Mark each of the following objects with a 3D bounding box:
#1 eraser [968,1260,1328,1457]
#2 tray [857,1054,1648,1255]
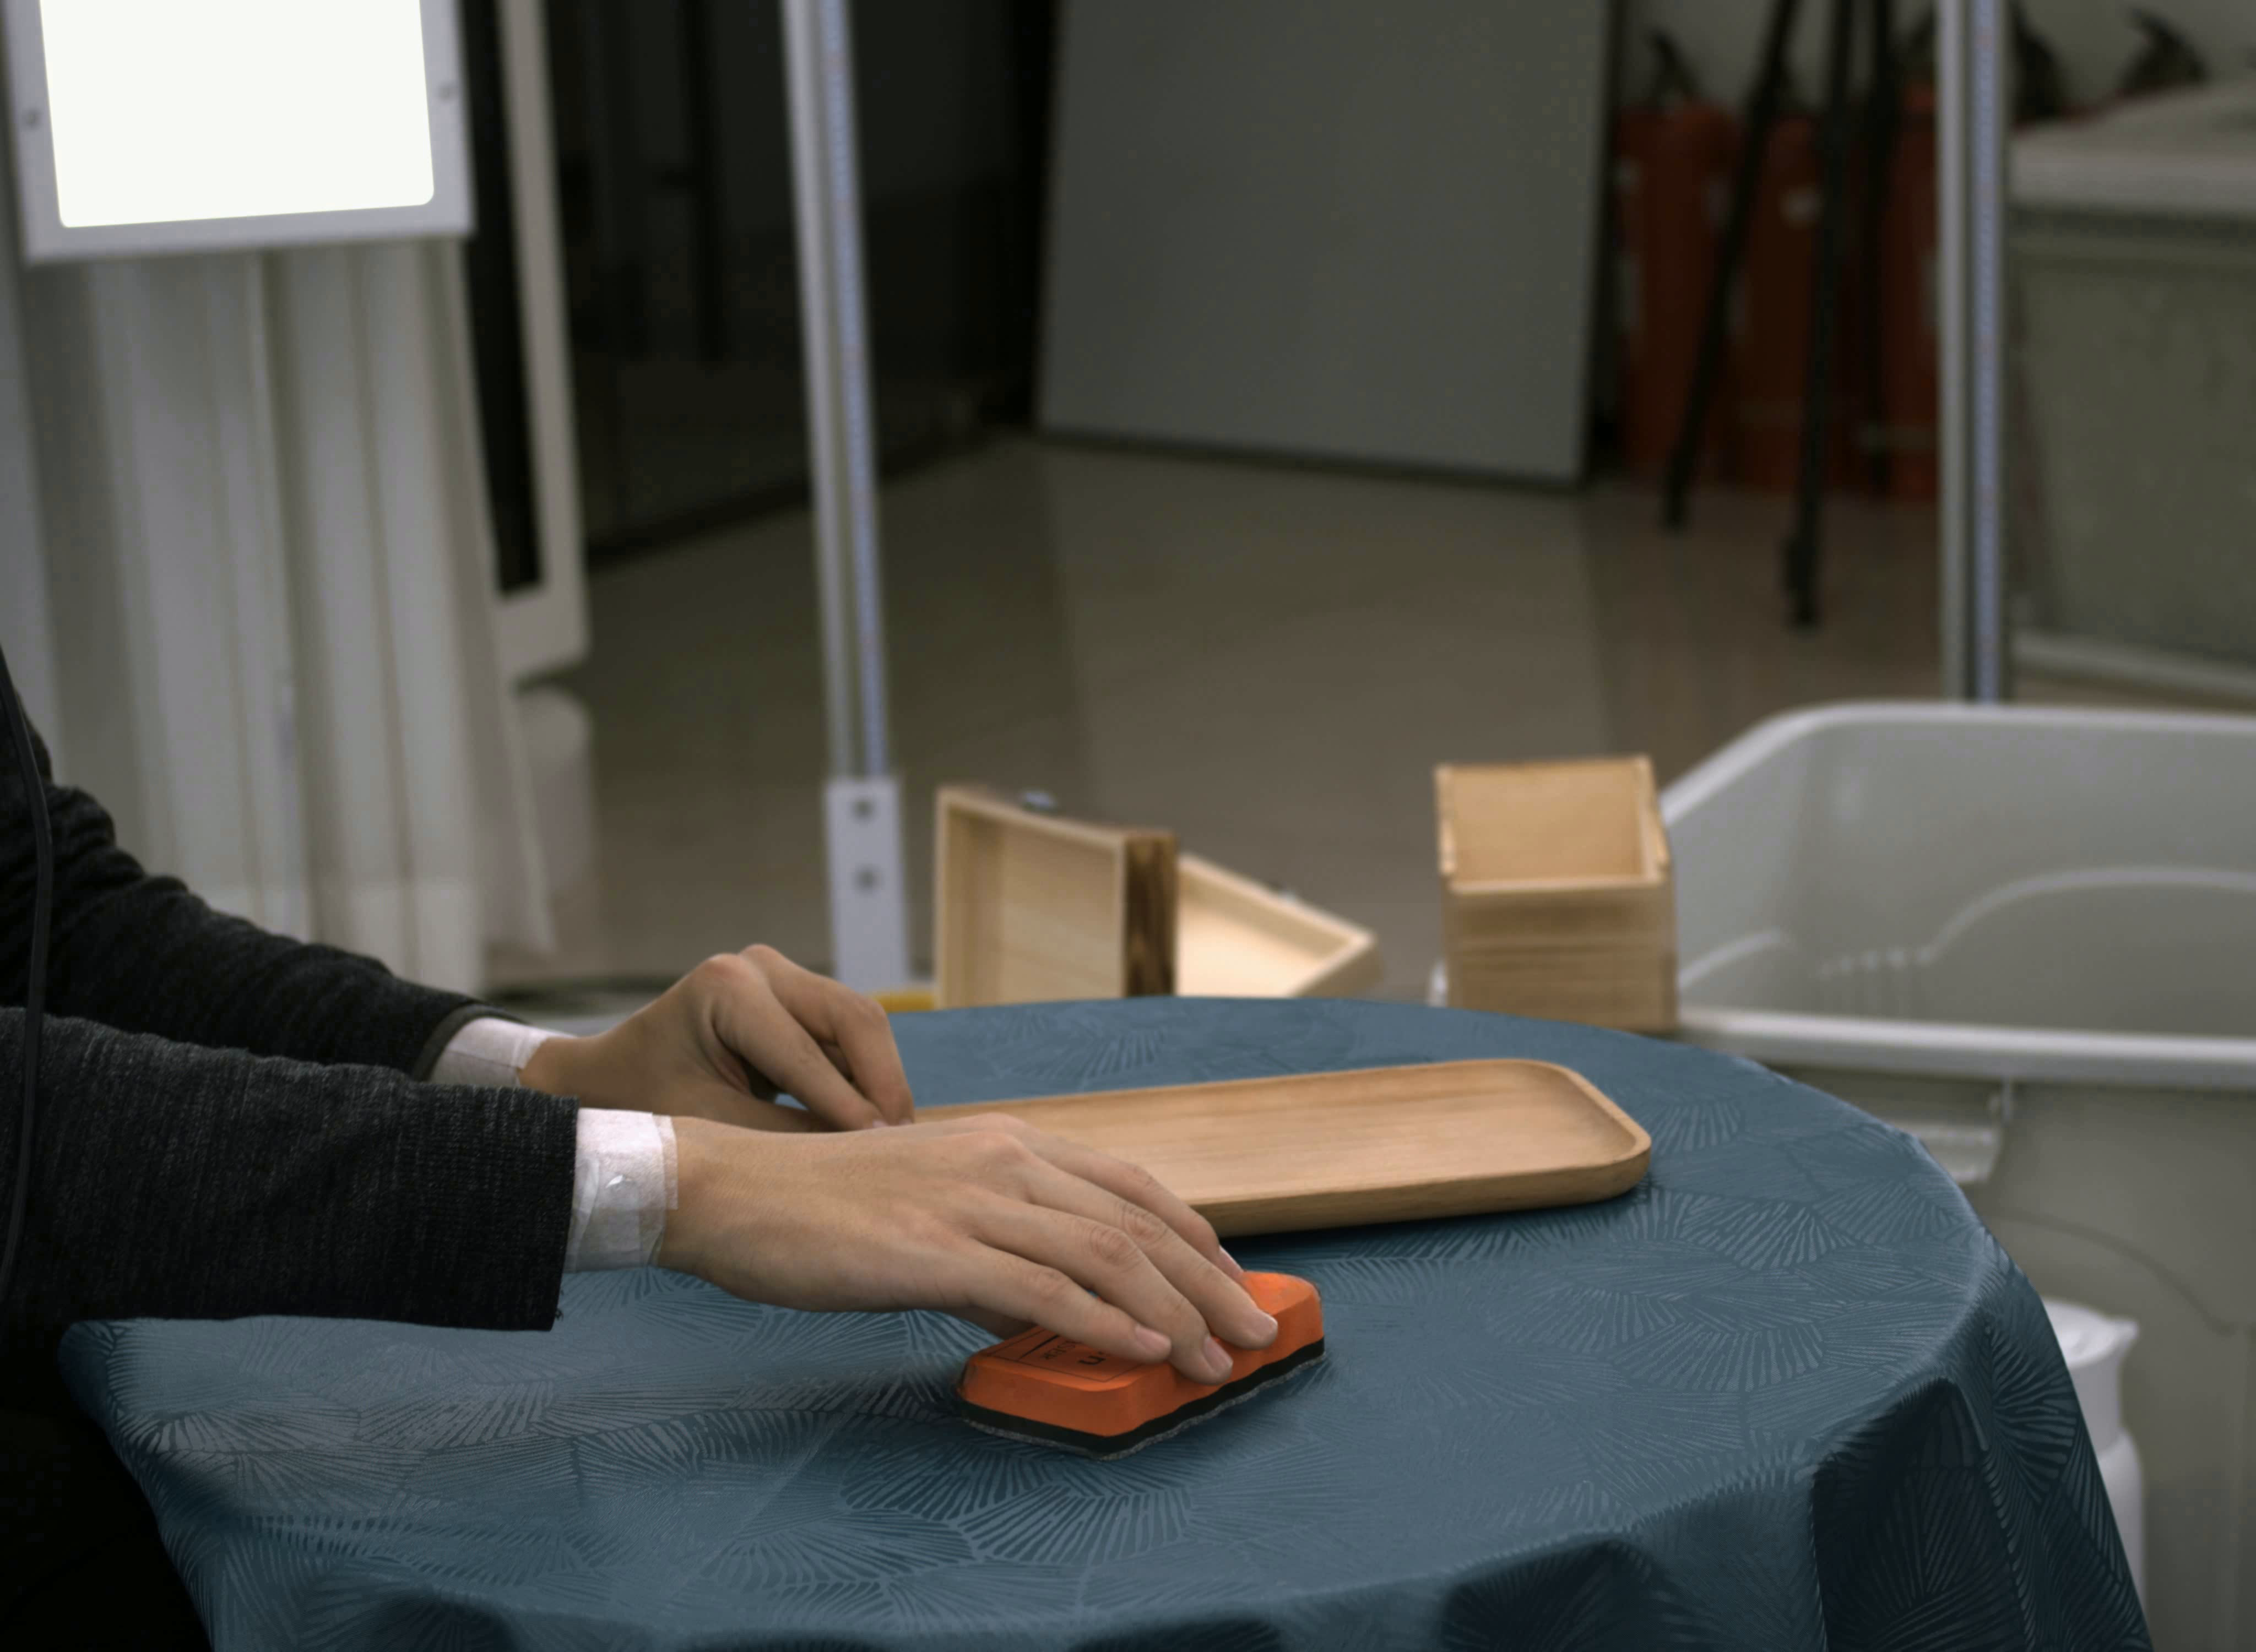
[{"bbox_3d":[0.007,0.155,1.580,0.059,0.023,0.106,6,17,42],"label":"eraser"},{"bbox_3d":[0.040,0.107,1.756,0.246,0.023,0.131,-5,12,-11],"label":"tray"}]
